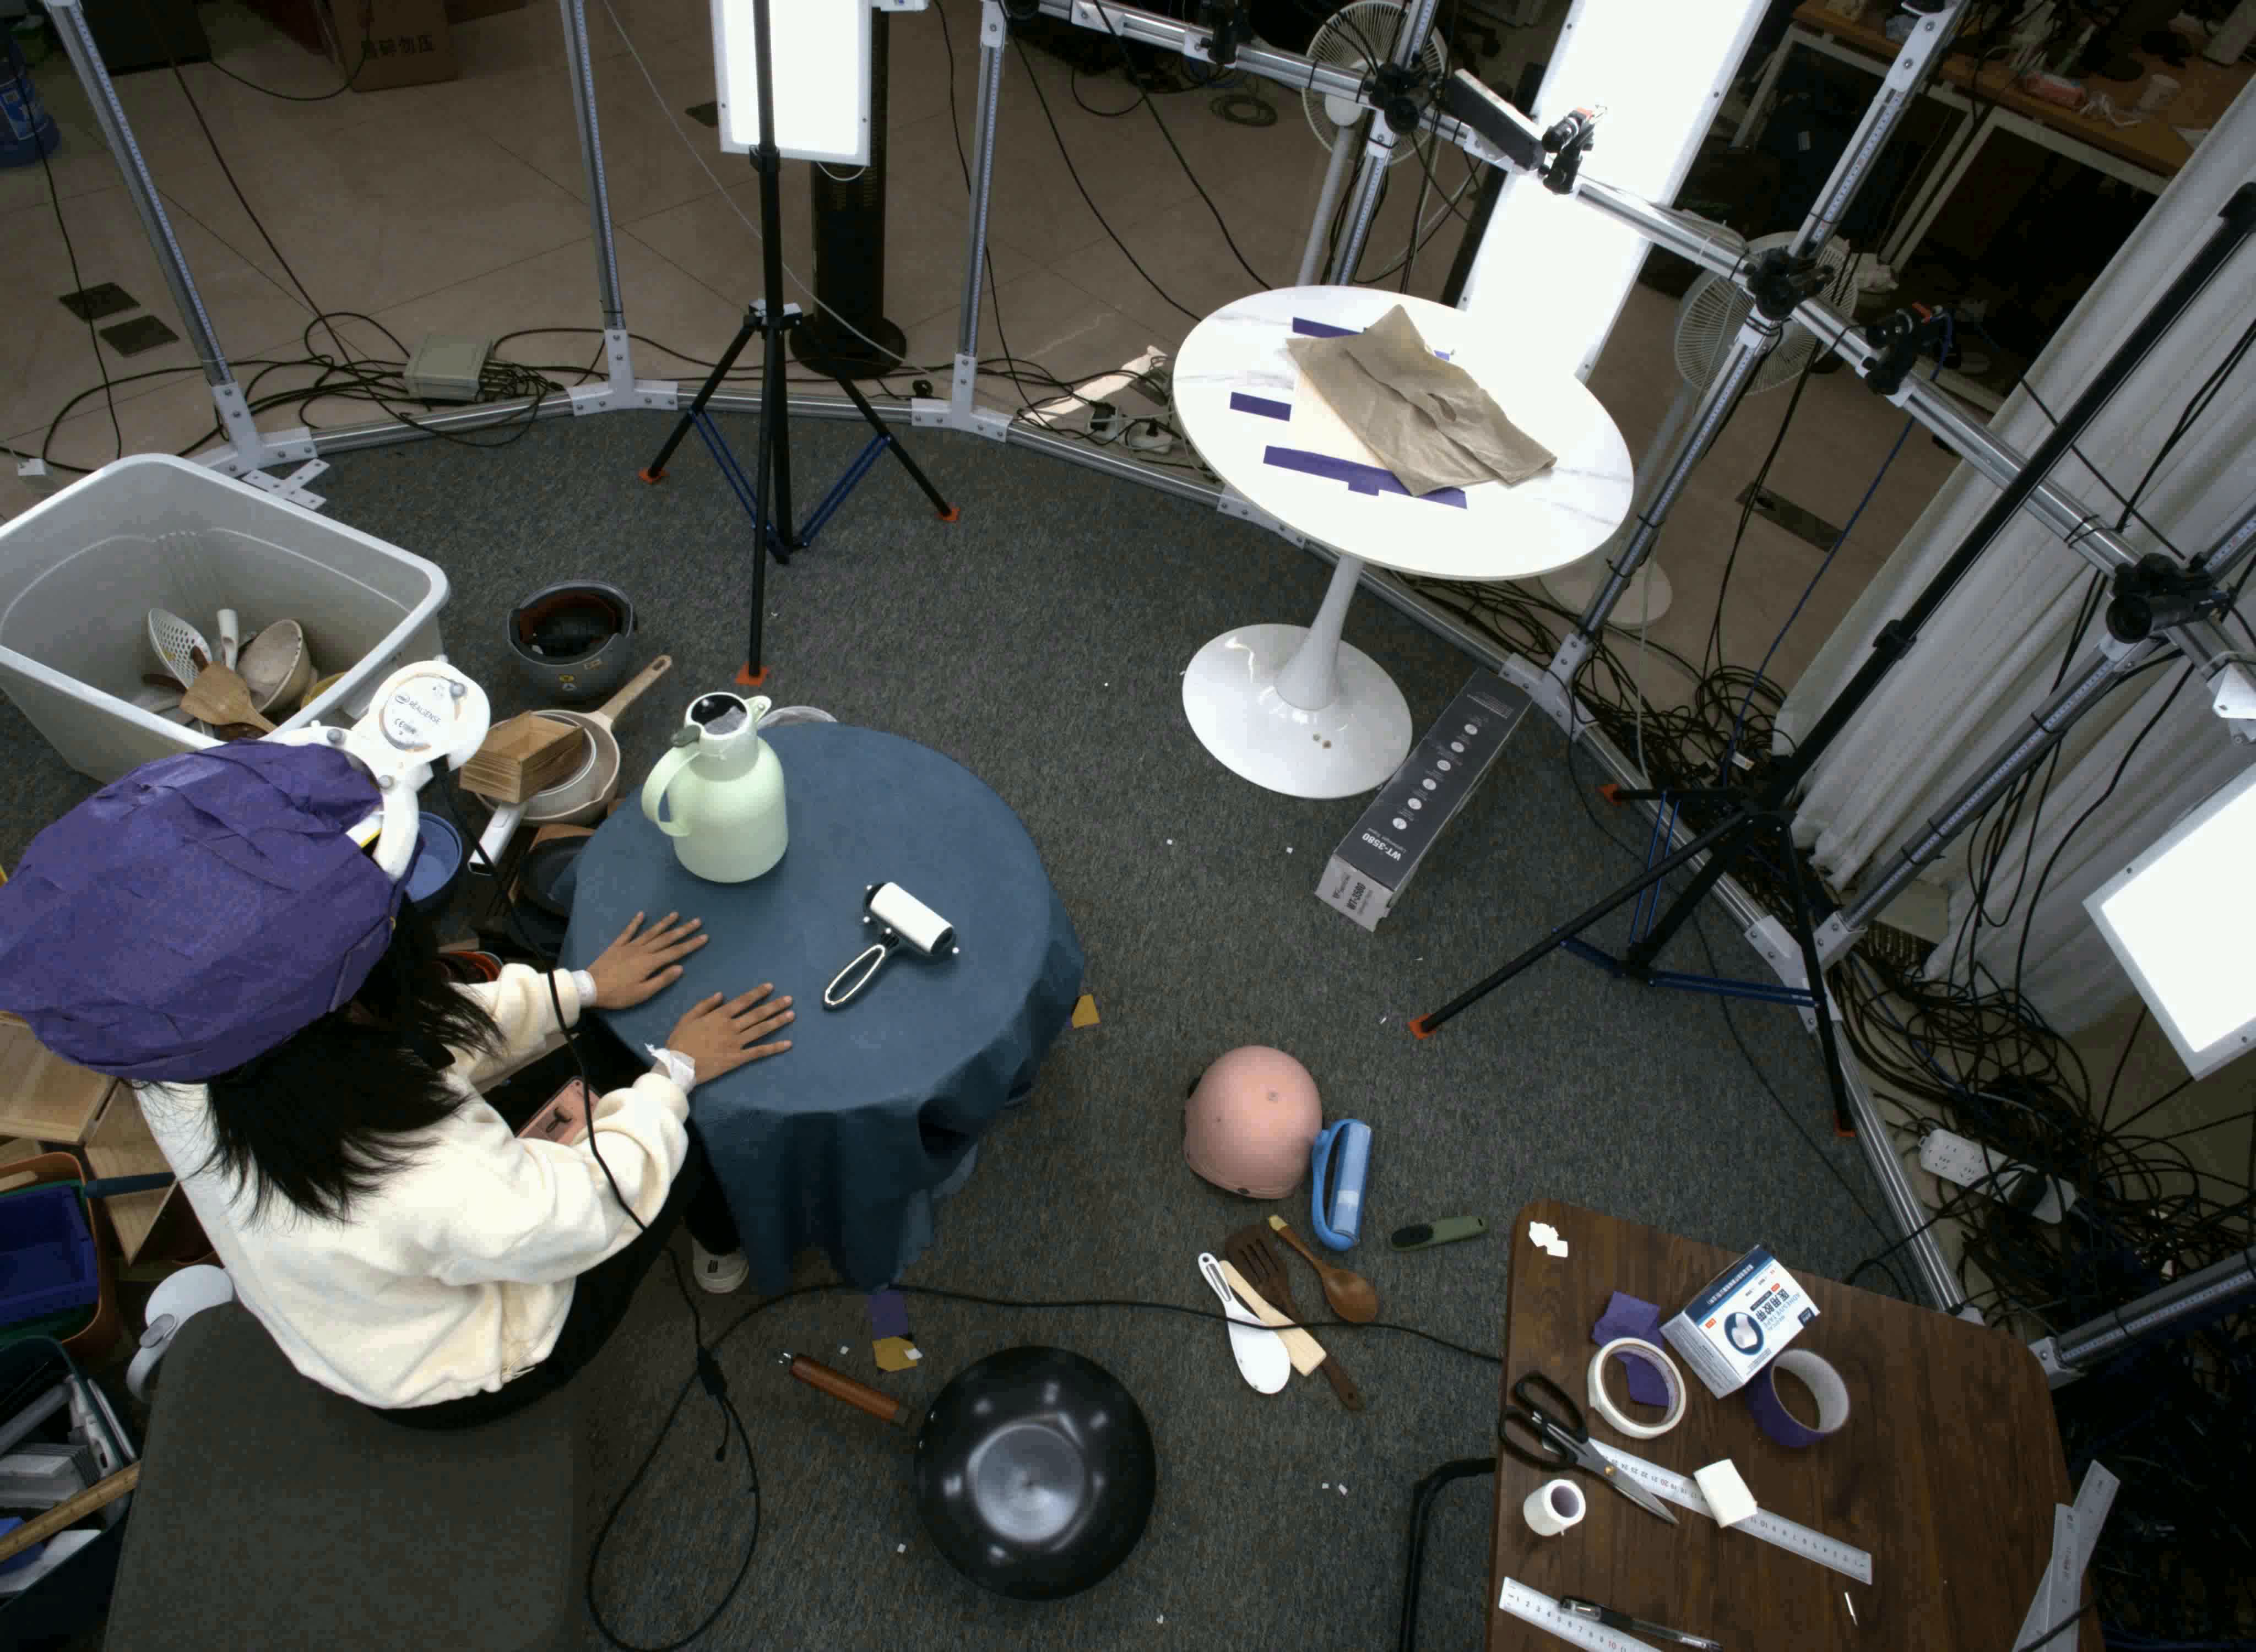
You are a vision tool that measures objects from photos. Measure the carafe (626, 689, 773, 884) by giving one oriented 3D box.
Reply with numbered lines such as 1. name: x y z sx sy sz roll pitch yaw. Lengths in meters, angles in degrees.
1. carafe: -0.522 -0.046 1.566 0.141 0.262 0.187 37 57 15

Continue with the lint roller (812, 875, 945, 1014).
1. lint roller: -0.325 0.154 1.599 0.132 0.049 0.180 34 53 13
